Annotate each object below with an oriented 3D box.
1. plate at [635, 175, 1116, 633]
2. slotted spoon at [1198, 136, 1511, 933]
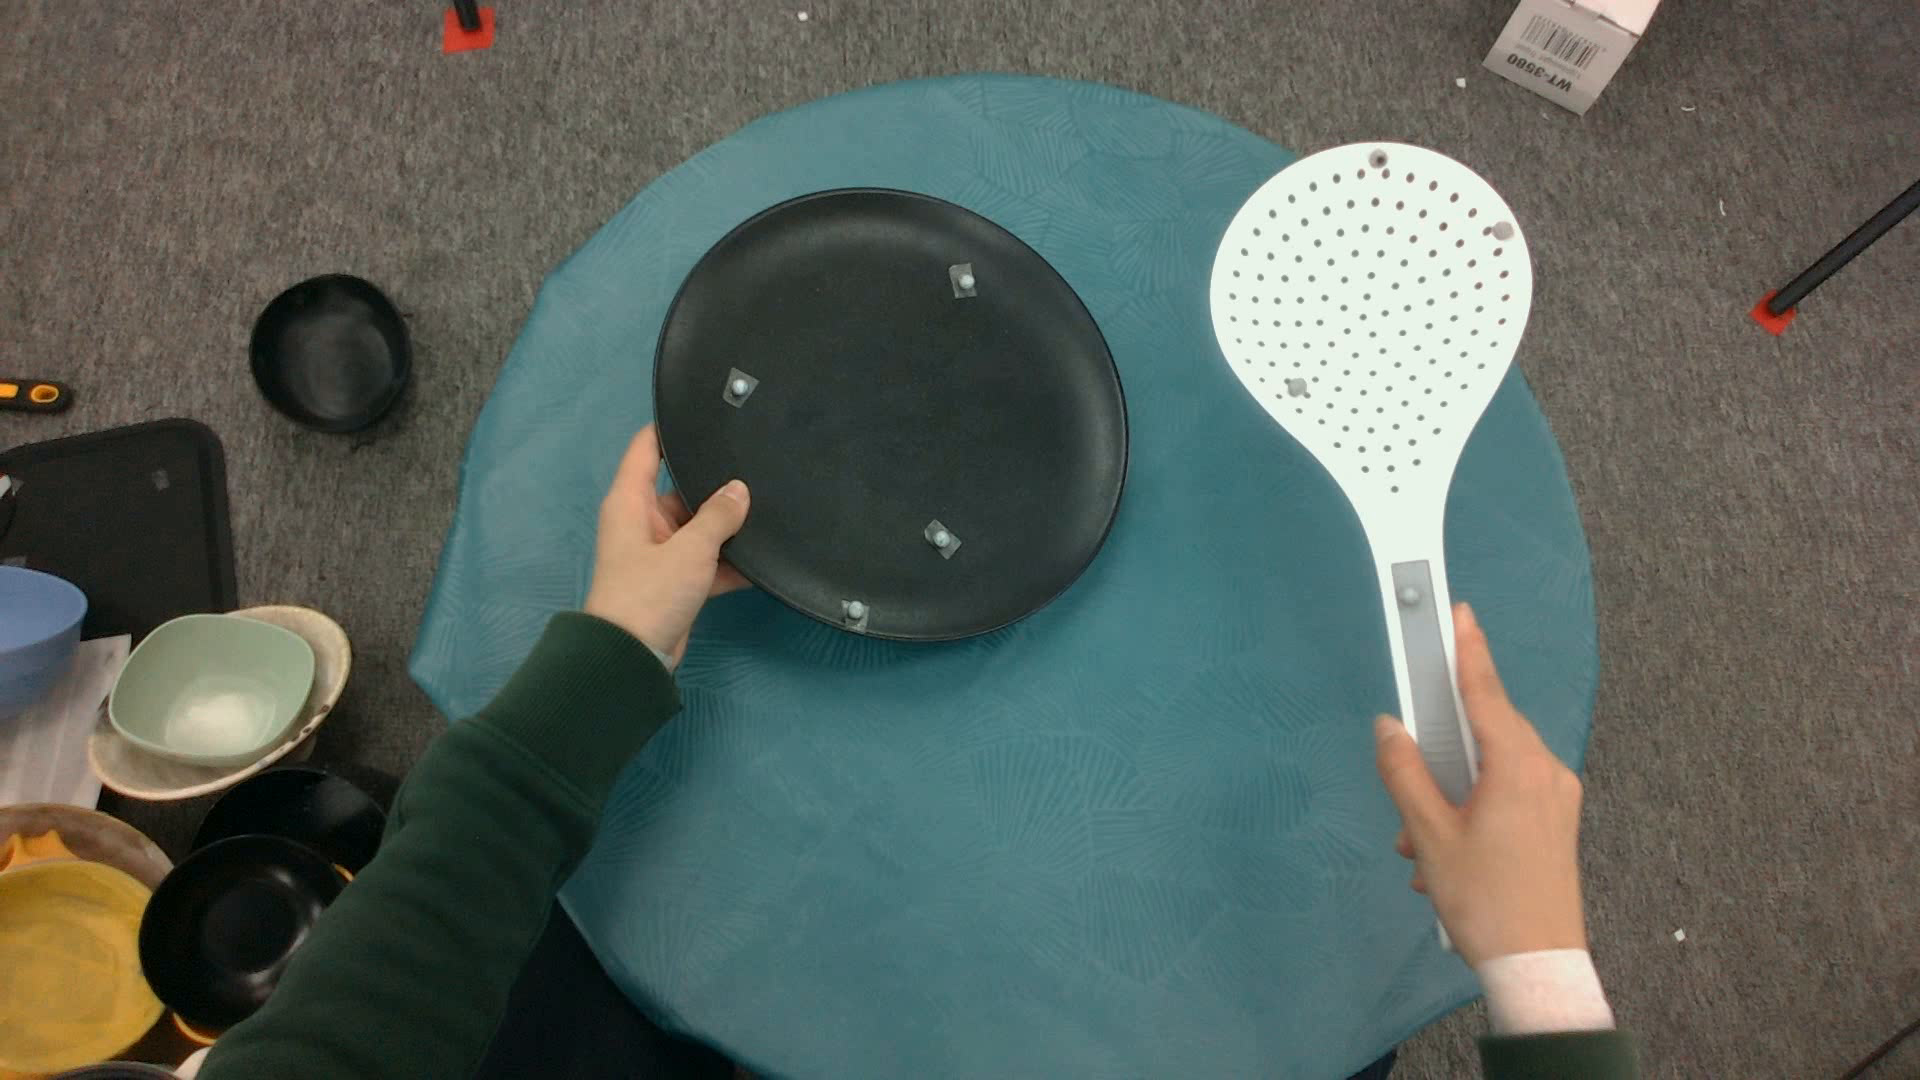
[{"bbox_3d":[-0.038,-0.070,0.684,0.245,0.023,0.245,6,70,-17],"label":"plate"},{"bbox_3d":[0.187,-0.011,0.598,0.136,0.045,0.350,-9,72,14],"label":"slotted spoon"}]
